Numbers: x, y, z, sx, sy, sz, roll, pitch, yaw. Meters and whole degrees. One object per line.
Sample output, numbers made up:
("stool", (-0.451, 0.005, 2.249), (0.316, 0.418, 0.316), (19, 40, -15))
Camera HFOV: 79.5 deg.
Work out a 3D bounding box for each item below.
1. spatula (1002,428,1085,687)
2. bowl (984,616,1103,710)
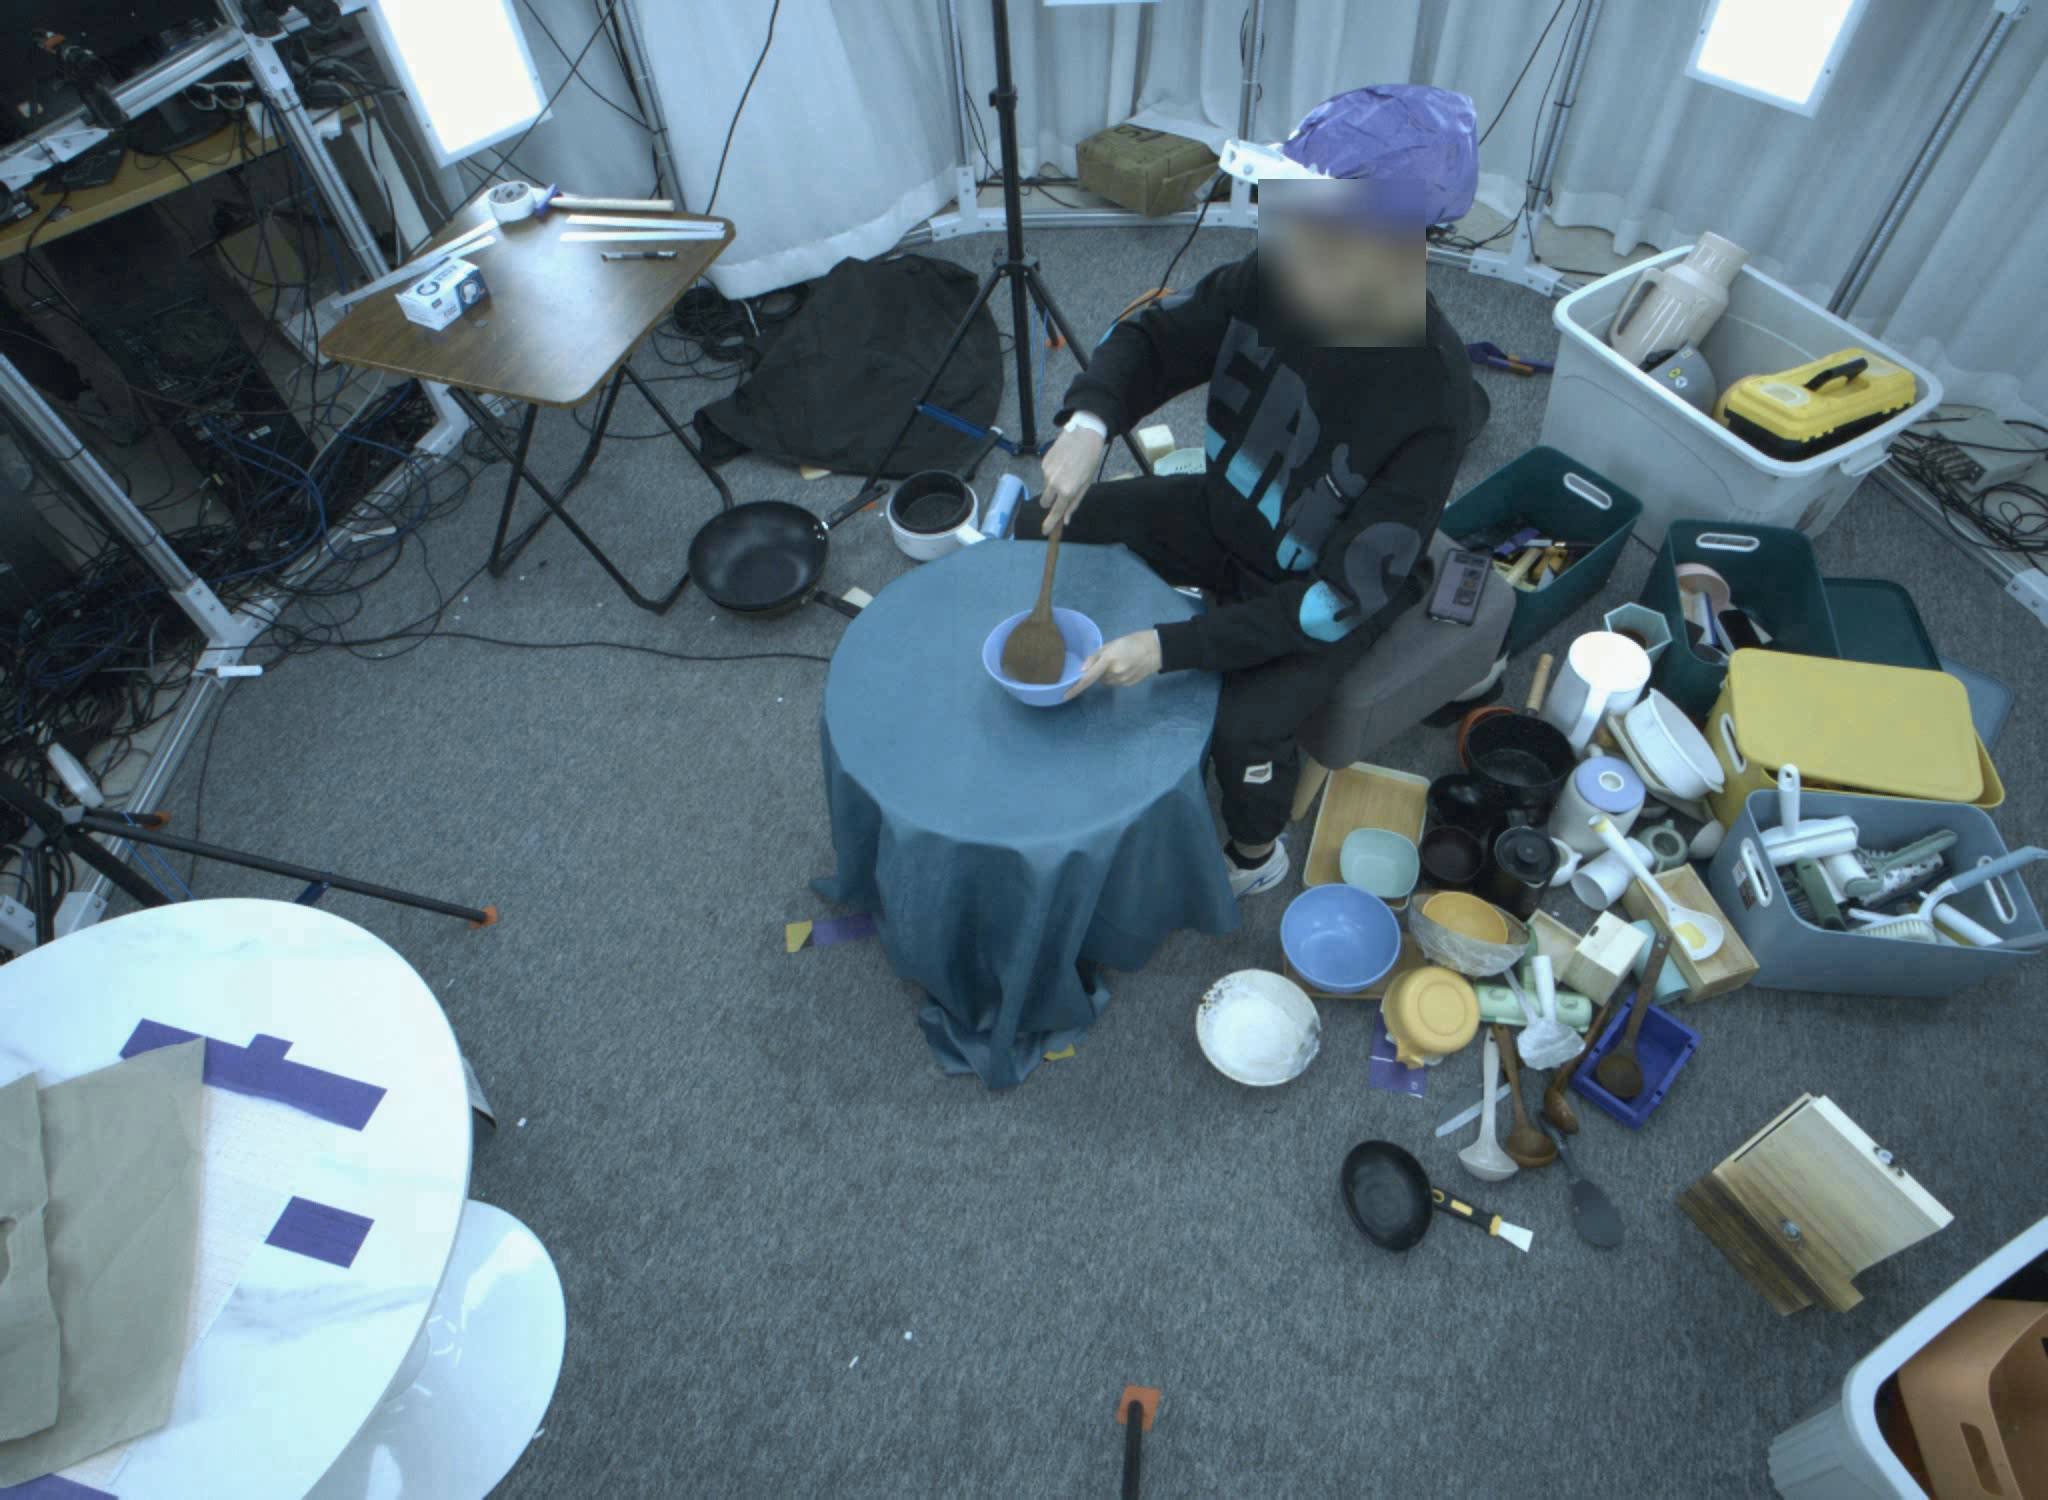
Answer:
("spatula", (0.042, -0.283, 1.802), (0.095, 0.016, 0.387), (12, 101, 9))
("bowl", (0.033, -0.121, 1.822), (0.175, 0.071, 0.174), (-5, 44, 6))
